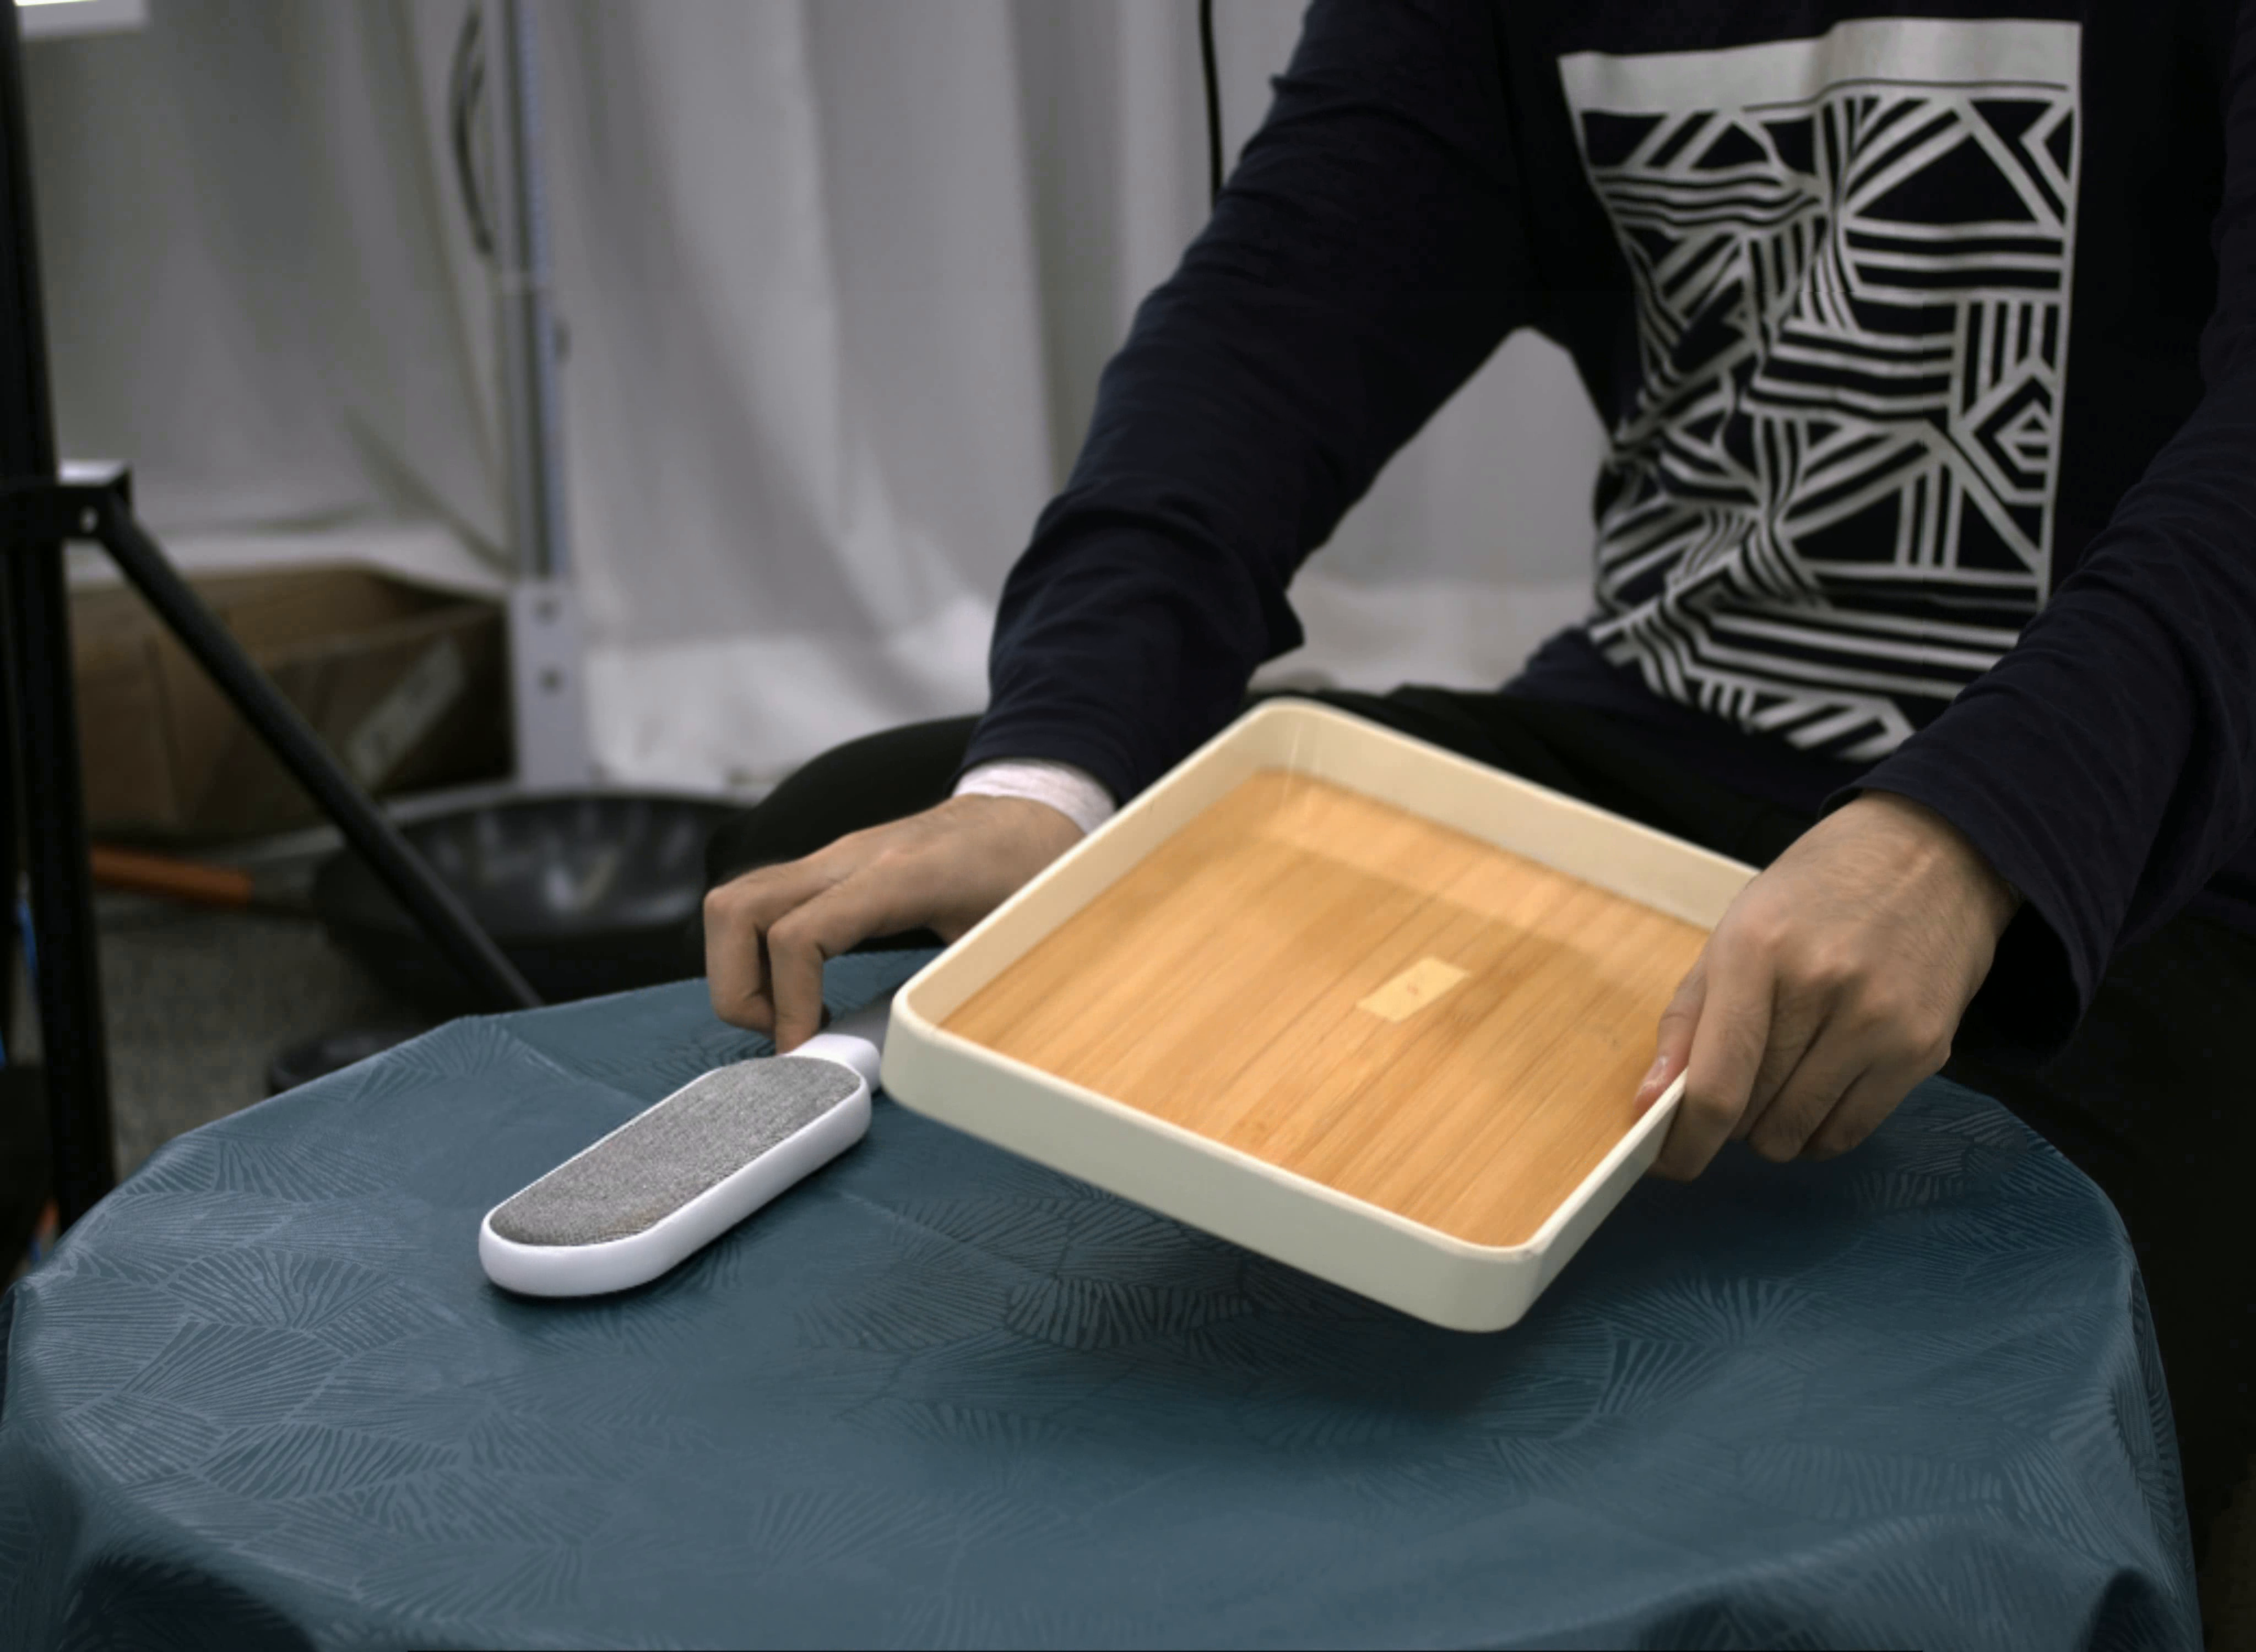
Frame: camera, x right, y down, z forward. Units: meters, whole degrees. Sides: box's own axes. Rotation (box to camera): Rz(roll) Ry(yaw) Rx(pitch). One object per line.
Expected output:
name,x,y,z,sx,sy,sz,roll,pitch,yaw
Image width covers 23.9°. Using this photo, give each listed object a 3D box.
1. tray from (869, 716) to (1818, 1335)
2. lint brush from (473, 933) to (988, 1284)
tray,0.069,0.050,1.514,0.194,0.027,0.296,21,24,18
lint brush,-0.104,0.082,1.618,0.061,0.021,0.304,-1,15,26
